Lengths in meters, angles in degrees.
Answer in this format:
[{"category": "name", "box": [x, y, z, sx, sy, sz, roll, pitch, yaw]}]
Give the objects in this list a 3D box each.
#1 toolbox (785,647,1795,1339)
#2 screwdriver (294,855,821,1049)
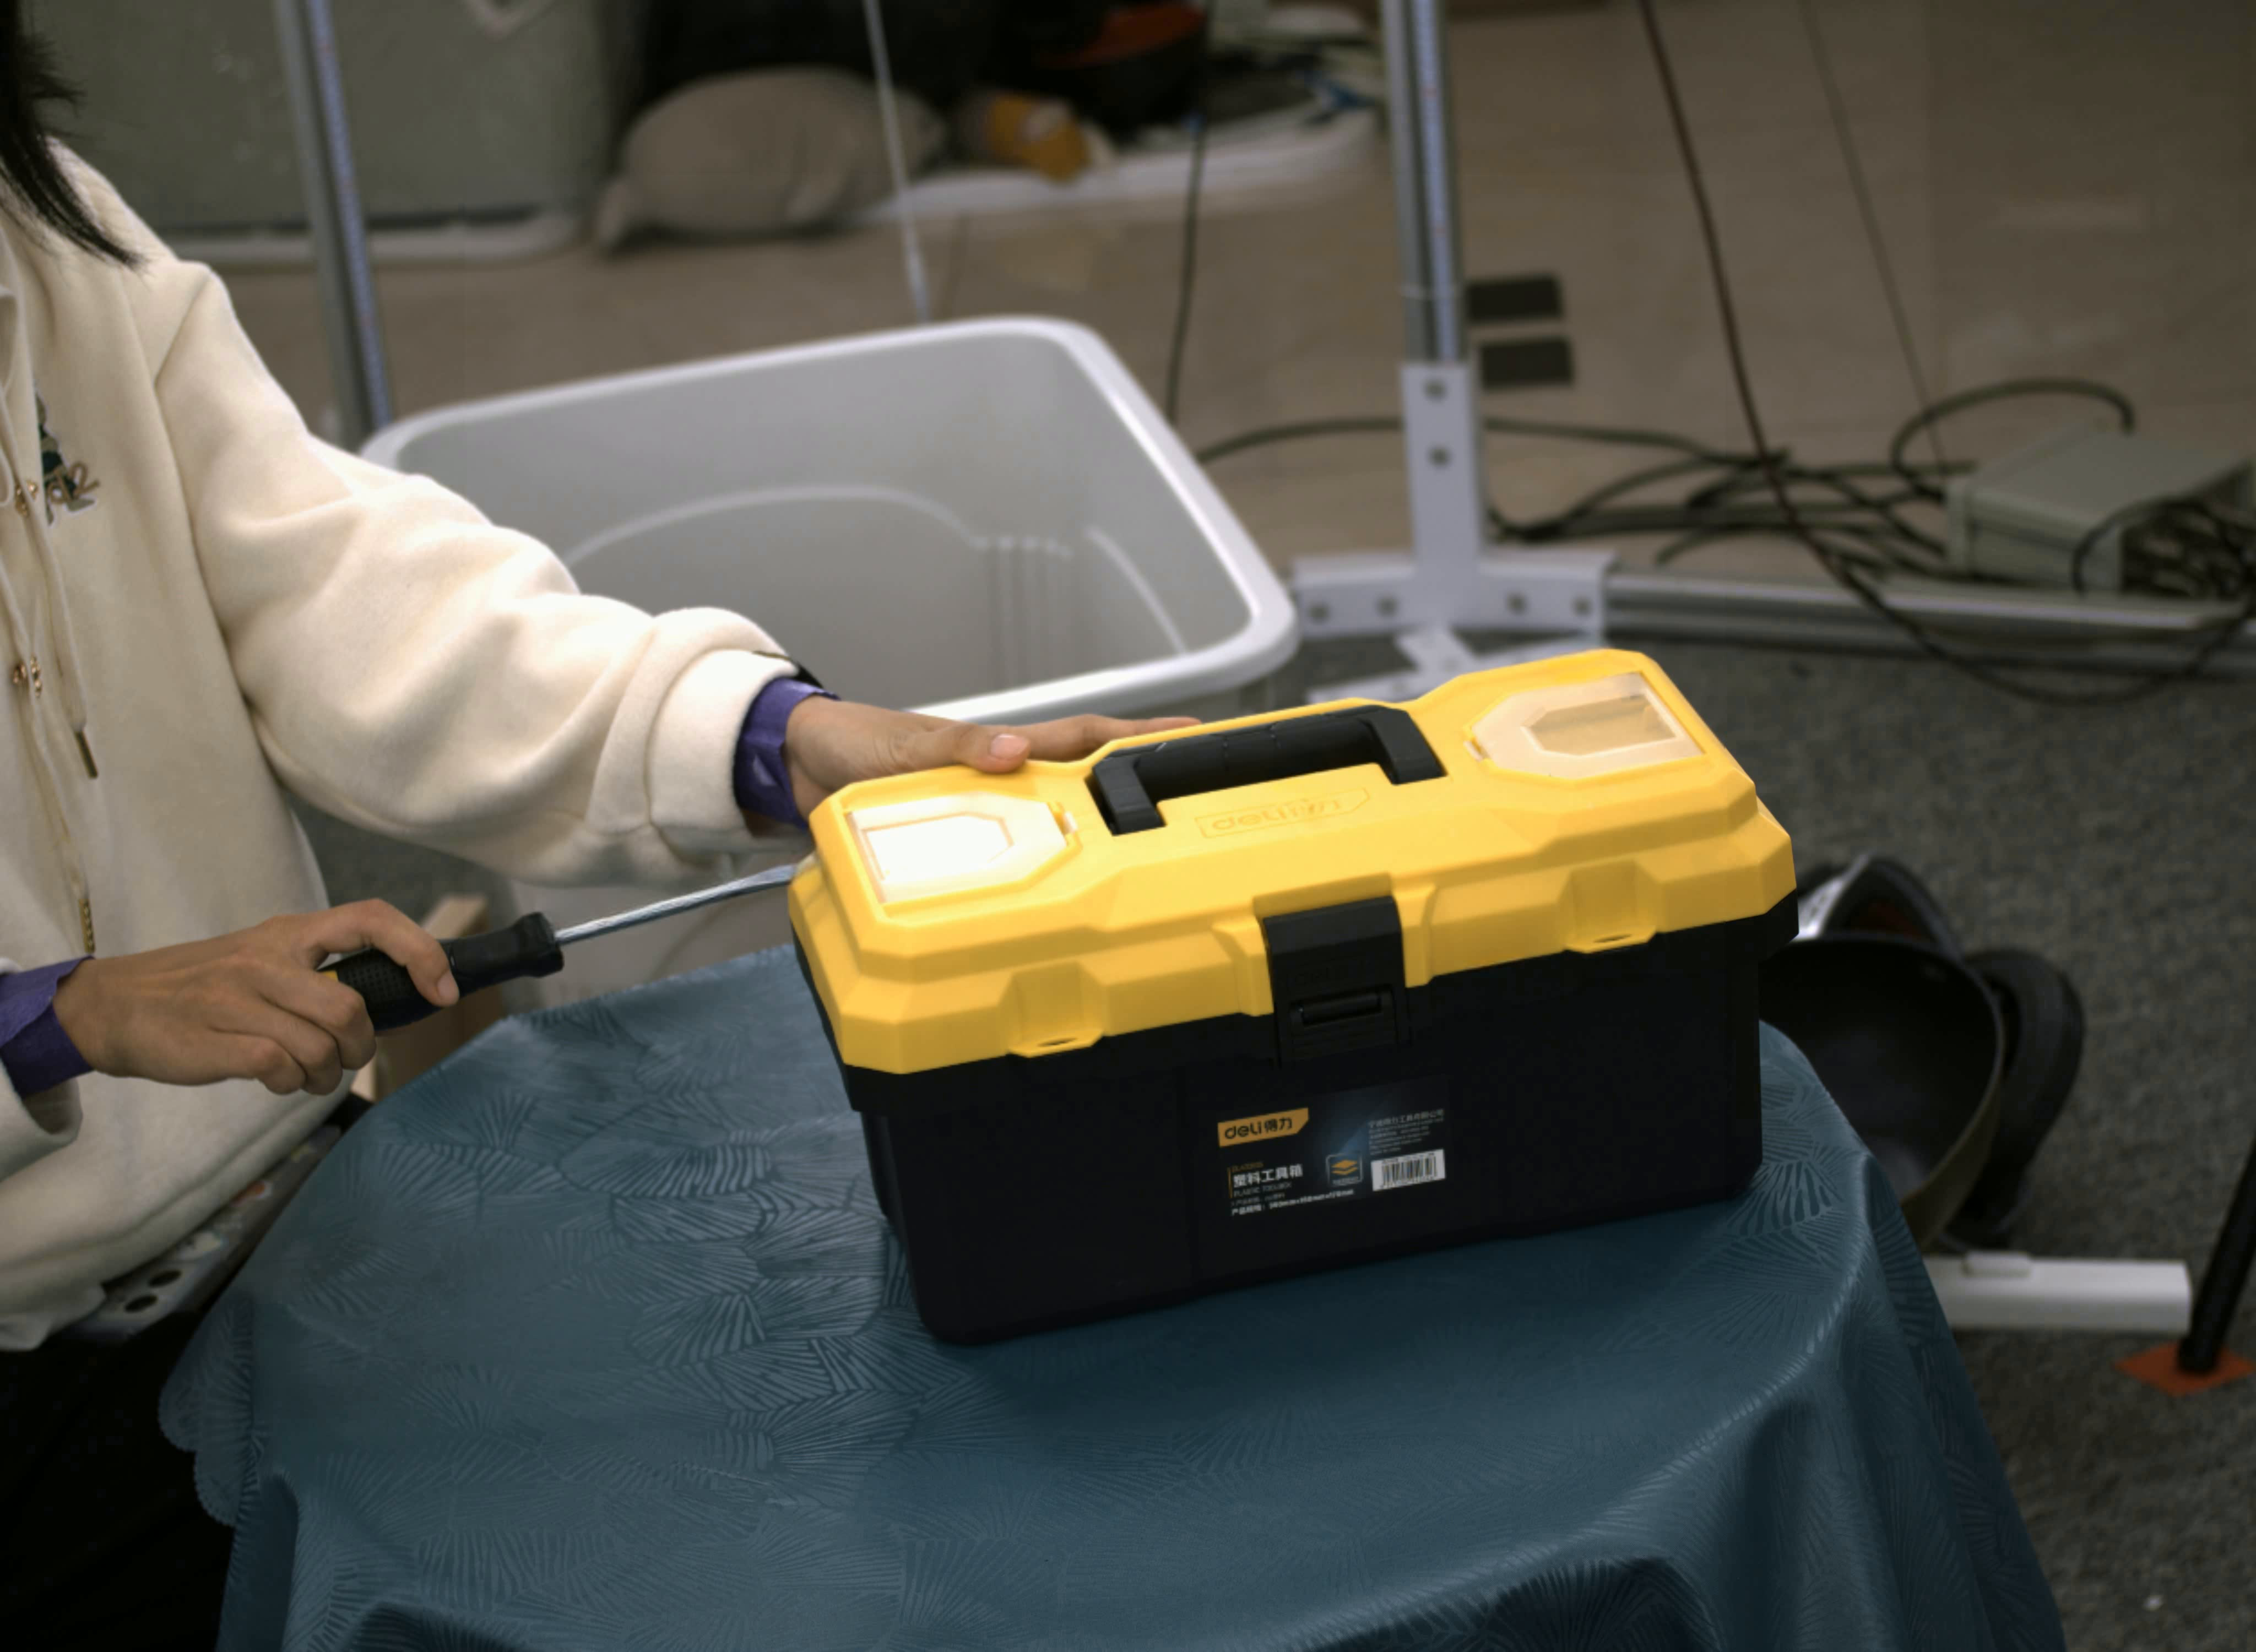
[{"category": "toolbox", "box": [0.061, 0.062, 2.091, 0.351, 0.175, 0.179, -10, 25, -8]}, {"category": "screwdriver", "box": [-0.204, 0.044, 2.042, 0.197, 0.032, 0.031, -15, 26, -1]}]
